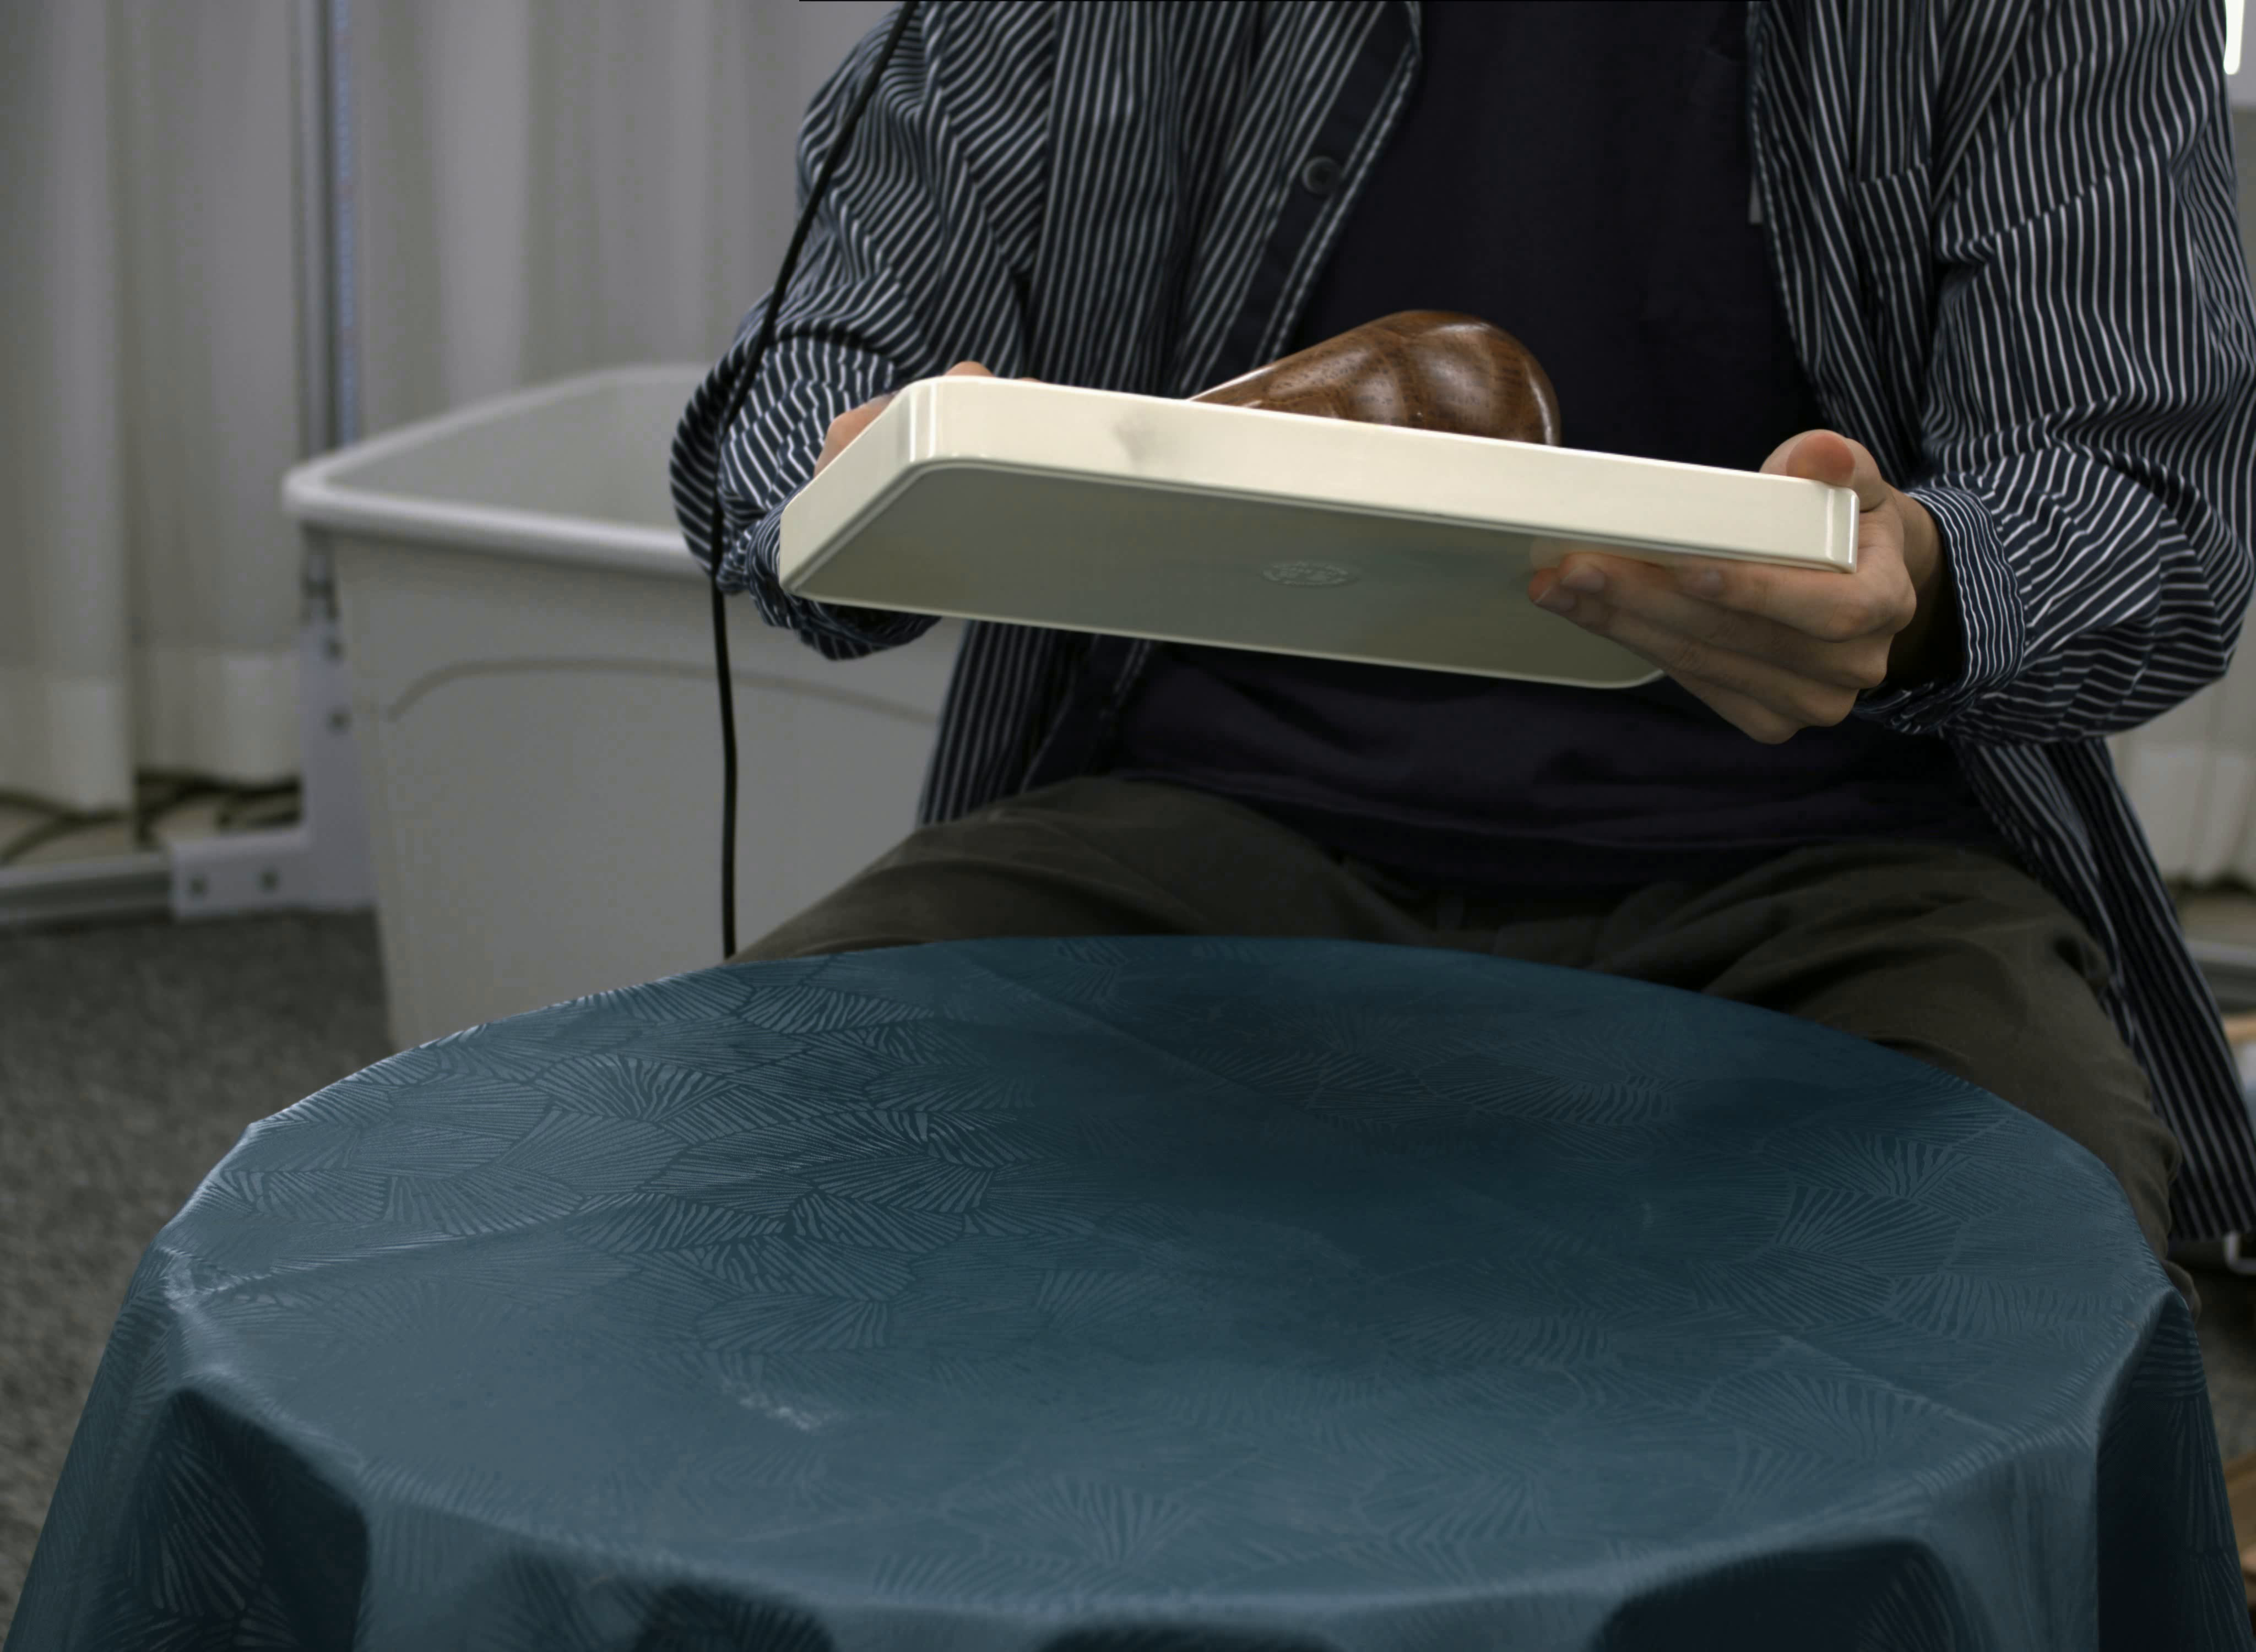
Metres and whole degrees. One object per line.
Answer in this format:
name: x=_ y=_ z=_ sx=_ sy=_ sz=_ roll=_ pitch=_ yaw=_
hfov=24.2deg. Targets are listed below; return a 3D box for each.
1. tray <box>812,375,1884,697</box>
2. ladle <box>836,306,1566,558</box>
tray: x=0.065 y=-0.086 z=1.635 sx=0.301 sy=0.027 sz=0.191 roll=6 pitch=-13 yaw=-16
ladle: x=0.022 y=-0.106 z=1.688 sx=0.272 sy=0.077 sz=0.081 roll=-16 pitch=42 yaw=44
